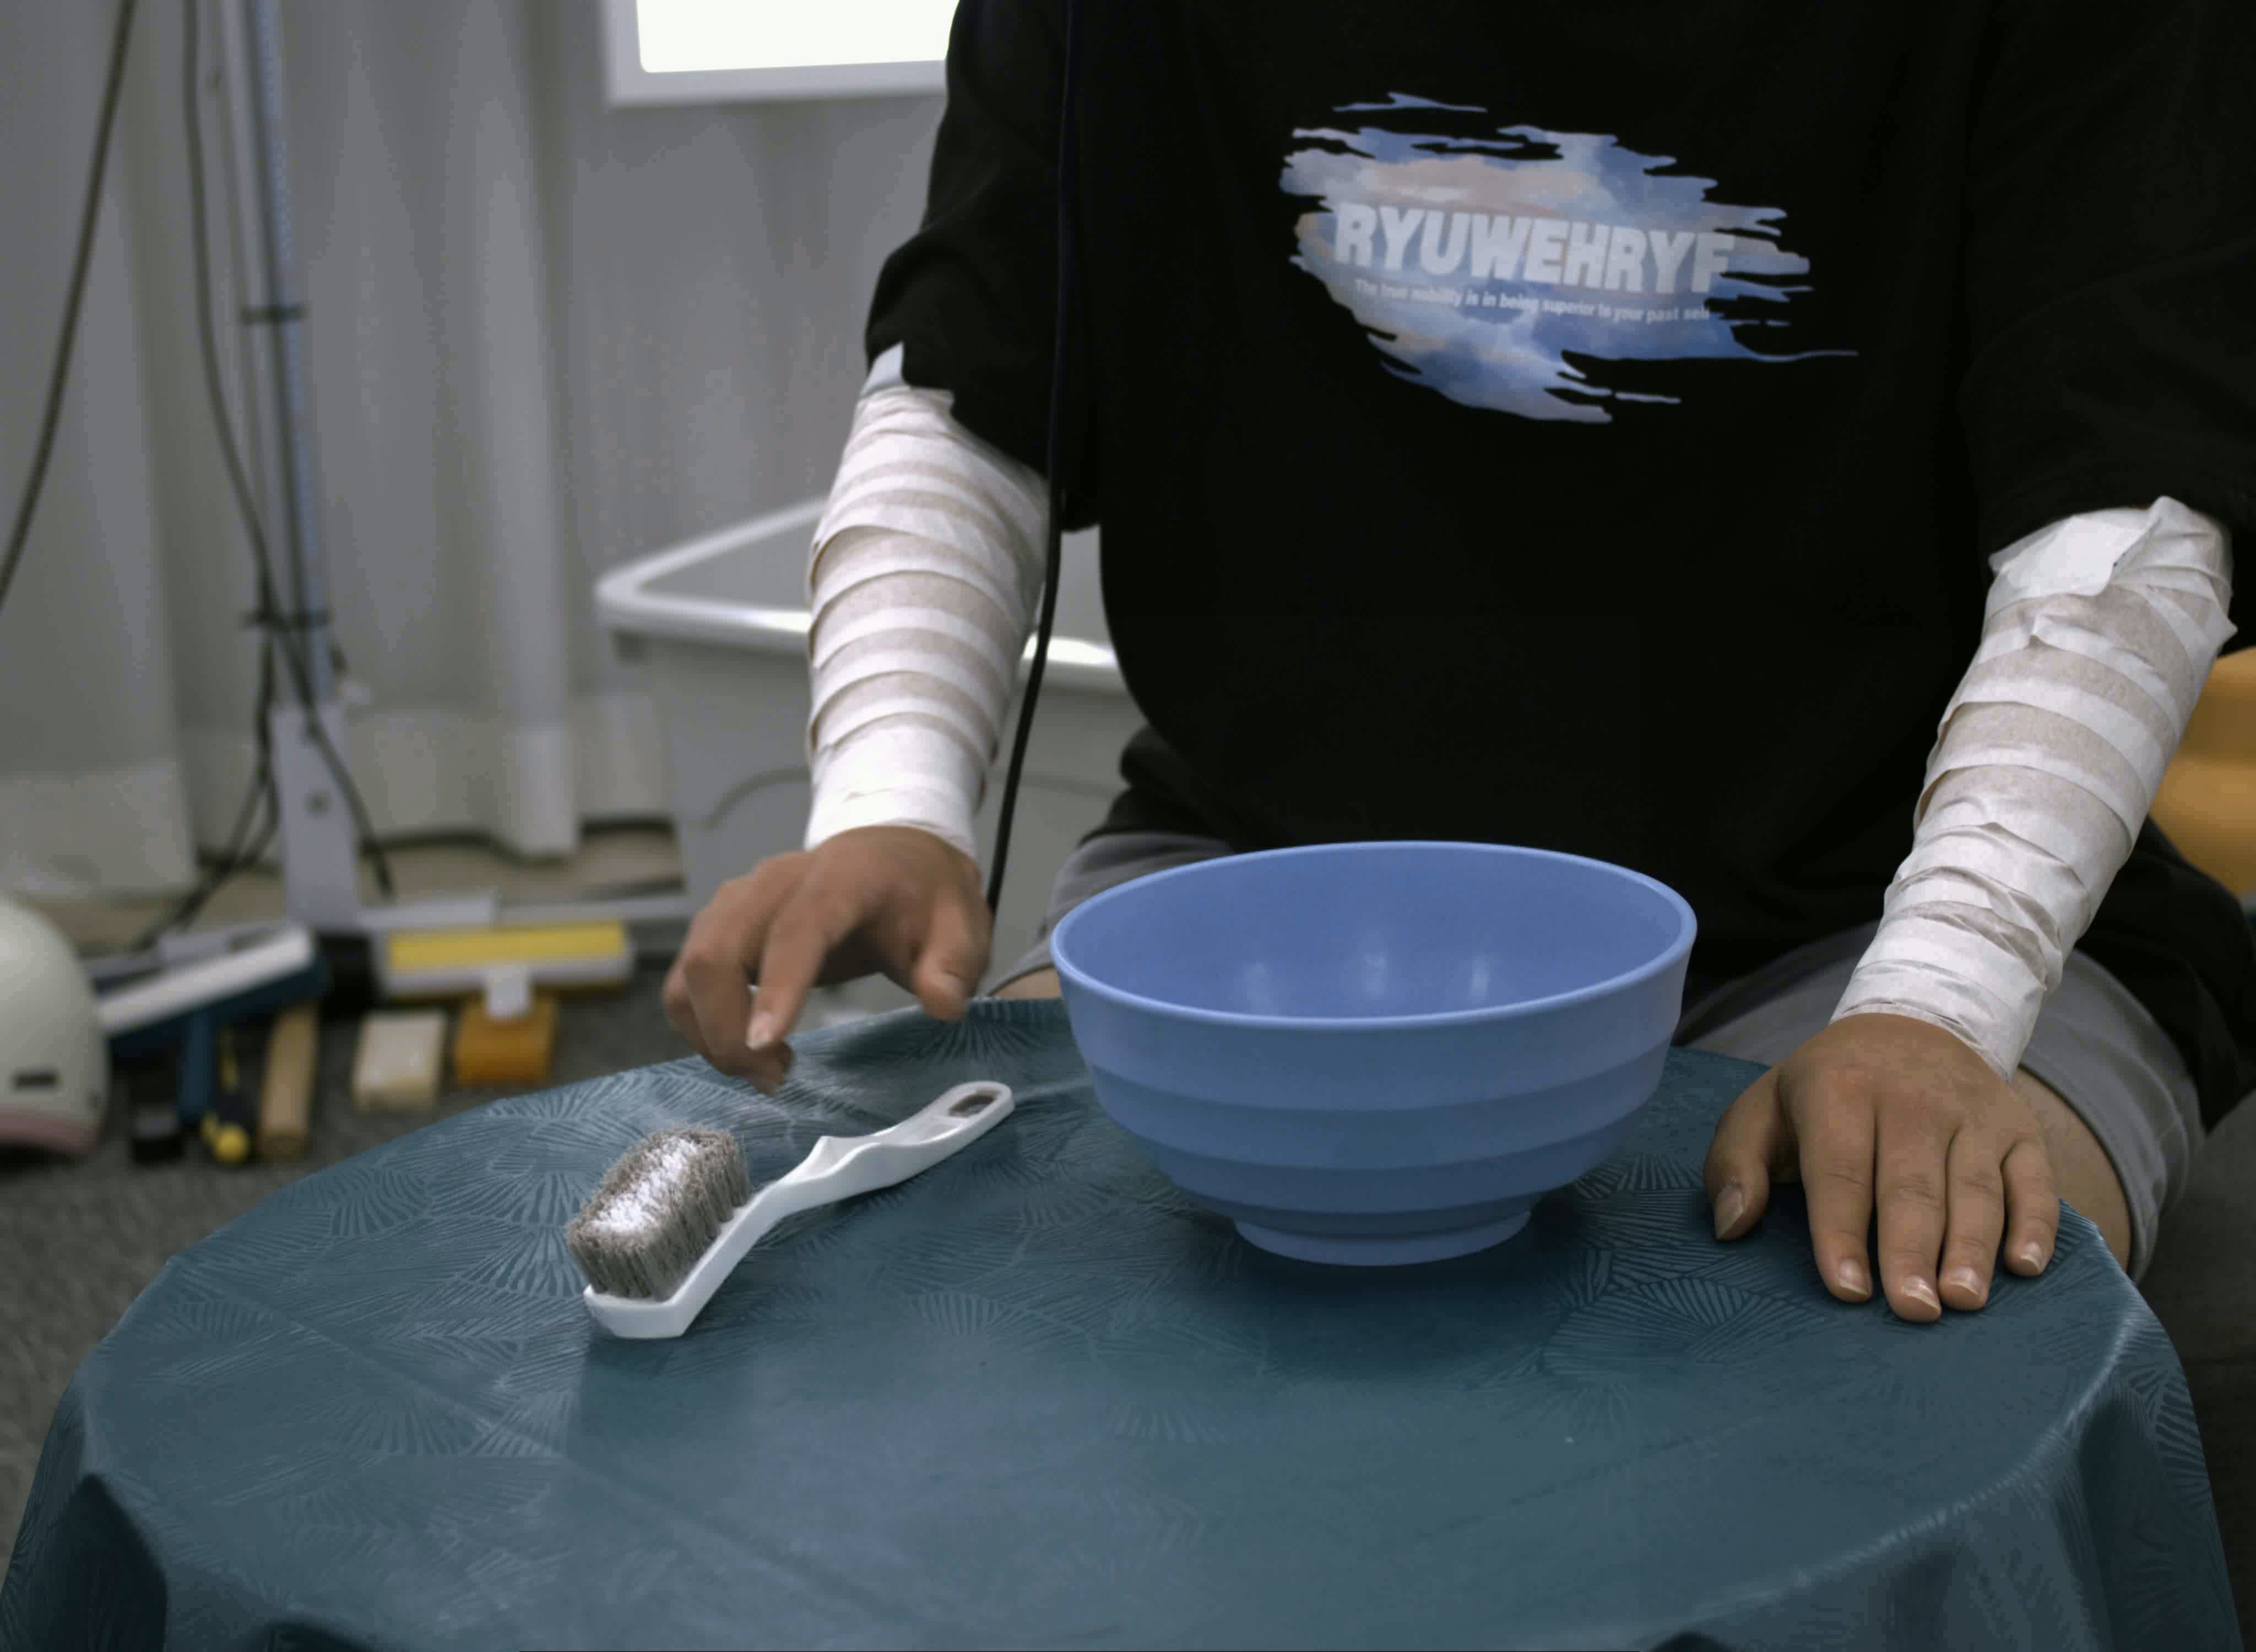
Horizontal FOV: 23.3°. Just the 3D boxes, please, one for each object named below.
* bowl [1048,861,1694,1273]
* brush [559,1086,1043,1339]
[{"bbox_3d":[0.076,0.078,1.666,0.196,0.095,0.197,-4,12,1],"label":"bowl"},{"bbox_3d":[-0.096,0.100,1.691,0.034,0.050,0.244,2,15,30],"label":"brush"}]
